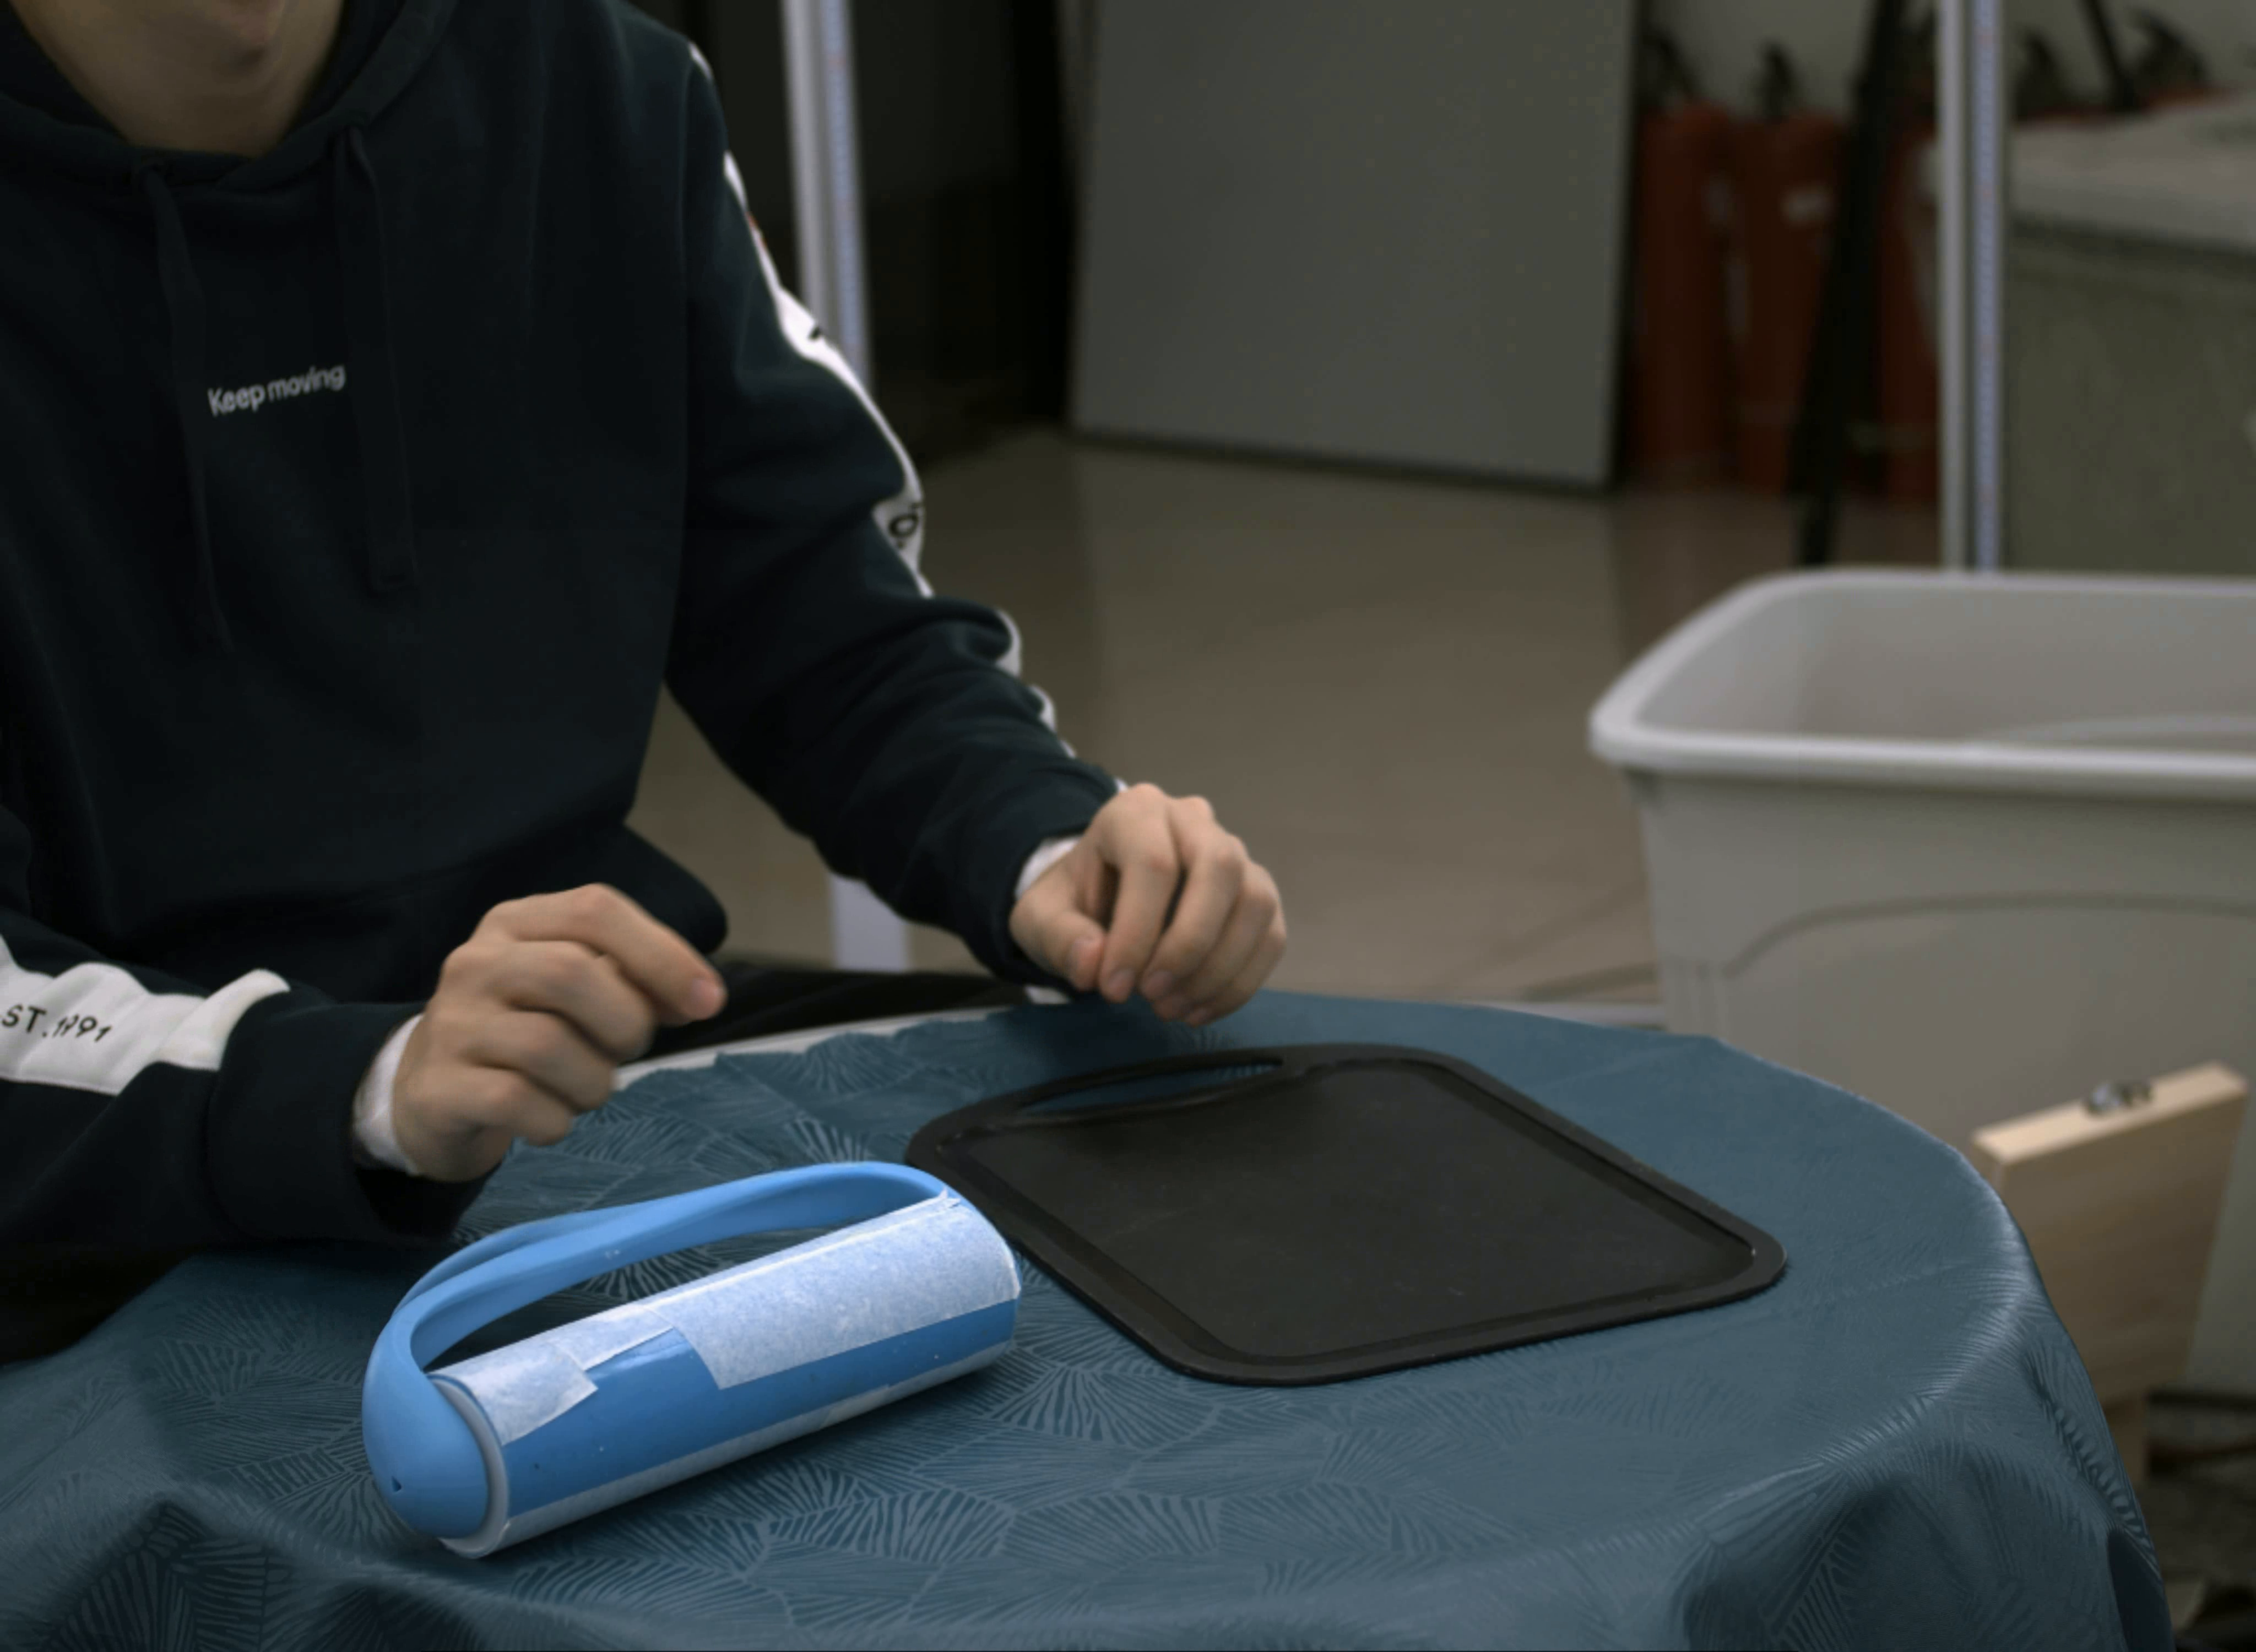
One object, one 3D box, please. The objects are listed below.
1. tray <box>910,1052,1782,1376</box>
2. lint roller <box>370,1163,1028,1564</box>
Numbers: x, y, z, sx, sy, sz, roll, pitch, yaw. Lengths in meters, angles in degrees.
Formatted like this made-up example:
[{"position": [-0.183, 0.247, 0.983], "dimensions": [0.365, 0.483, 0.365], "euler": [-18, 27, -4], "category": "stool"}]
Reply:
[{"position": [0.060, 0.119, 1.749], "dimensions": [0.207, 0.010, 0.328], "euler": [-9, 14, -20], "category": "tray"}, {"position": [-0.159, 0.148, 1.592], "dimensions": [0.182, 0.068, 0.224], "euler": [11, 22, 44], "category": "lint roller"}]
